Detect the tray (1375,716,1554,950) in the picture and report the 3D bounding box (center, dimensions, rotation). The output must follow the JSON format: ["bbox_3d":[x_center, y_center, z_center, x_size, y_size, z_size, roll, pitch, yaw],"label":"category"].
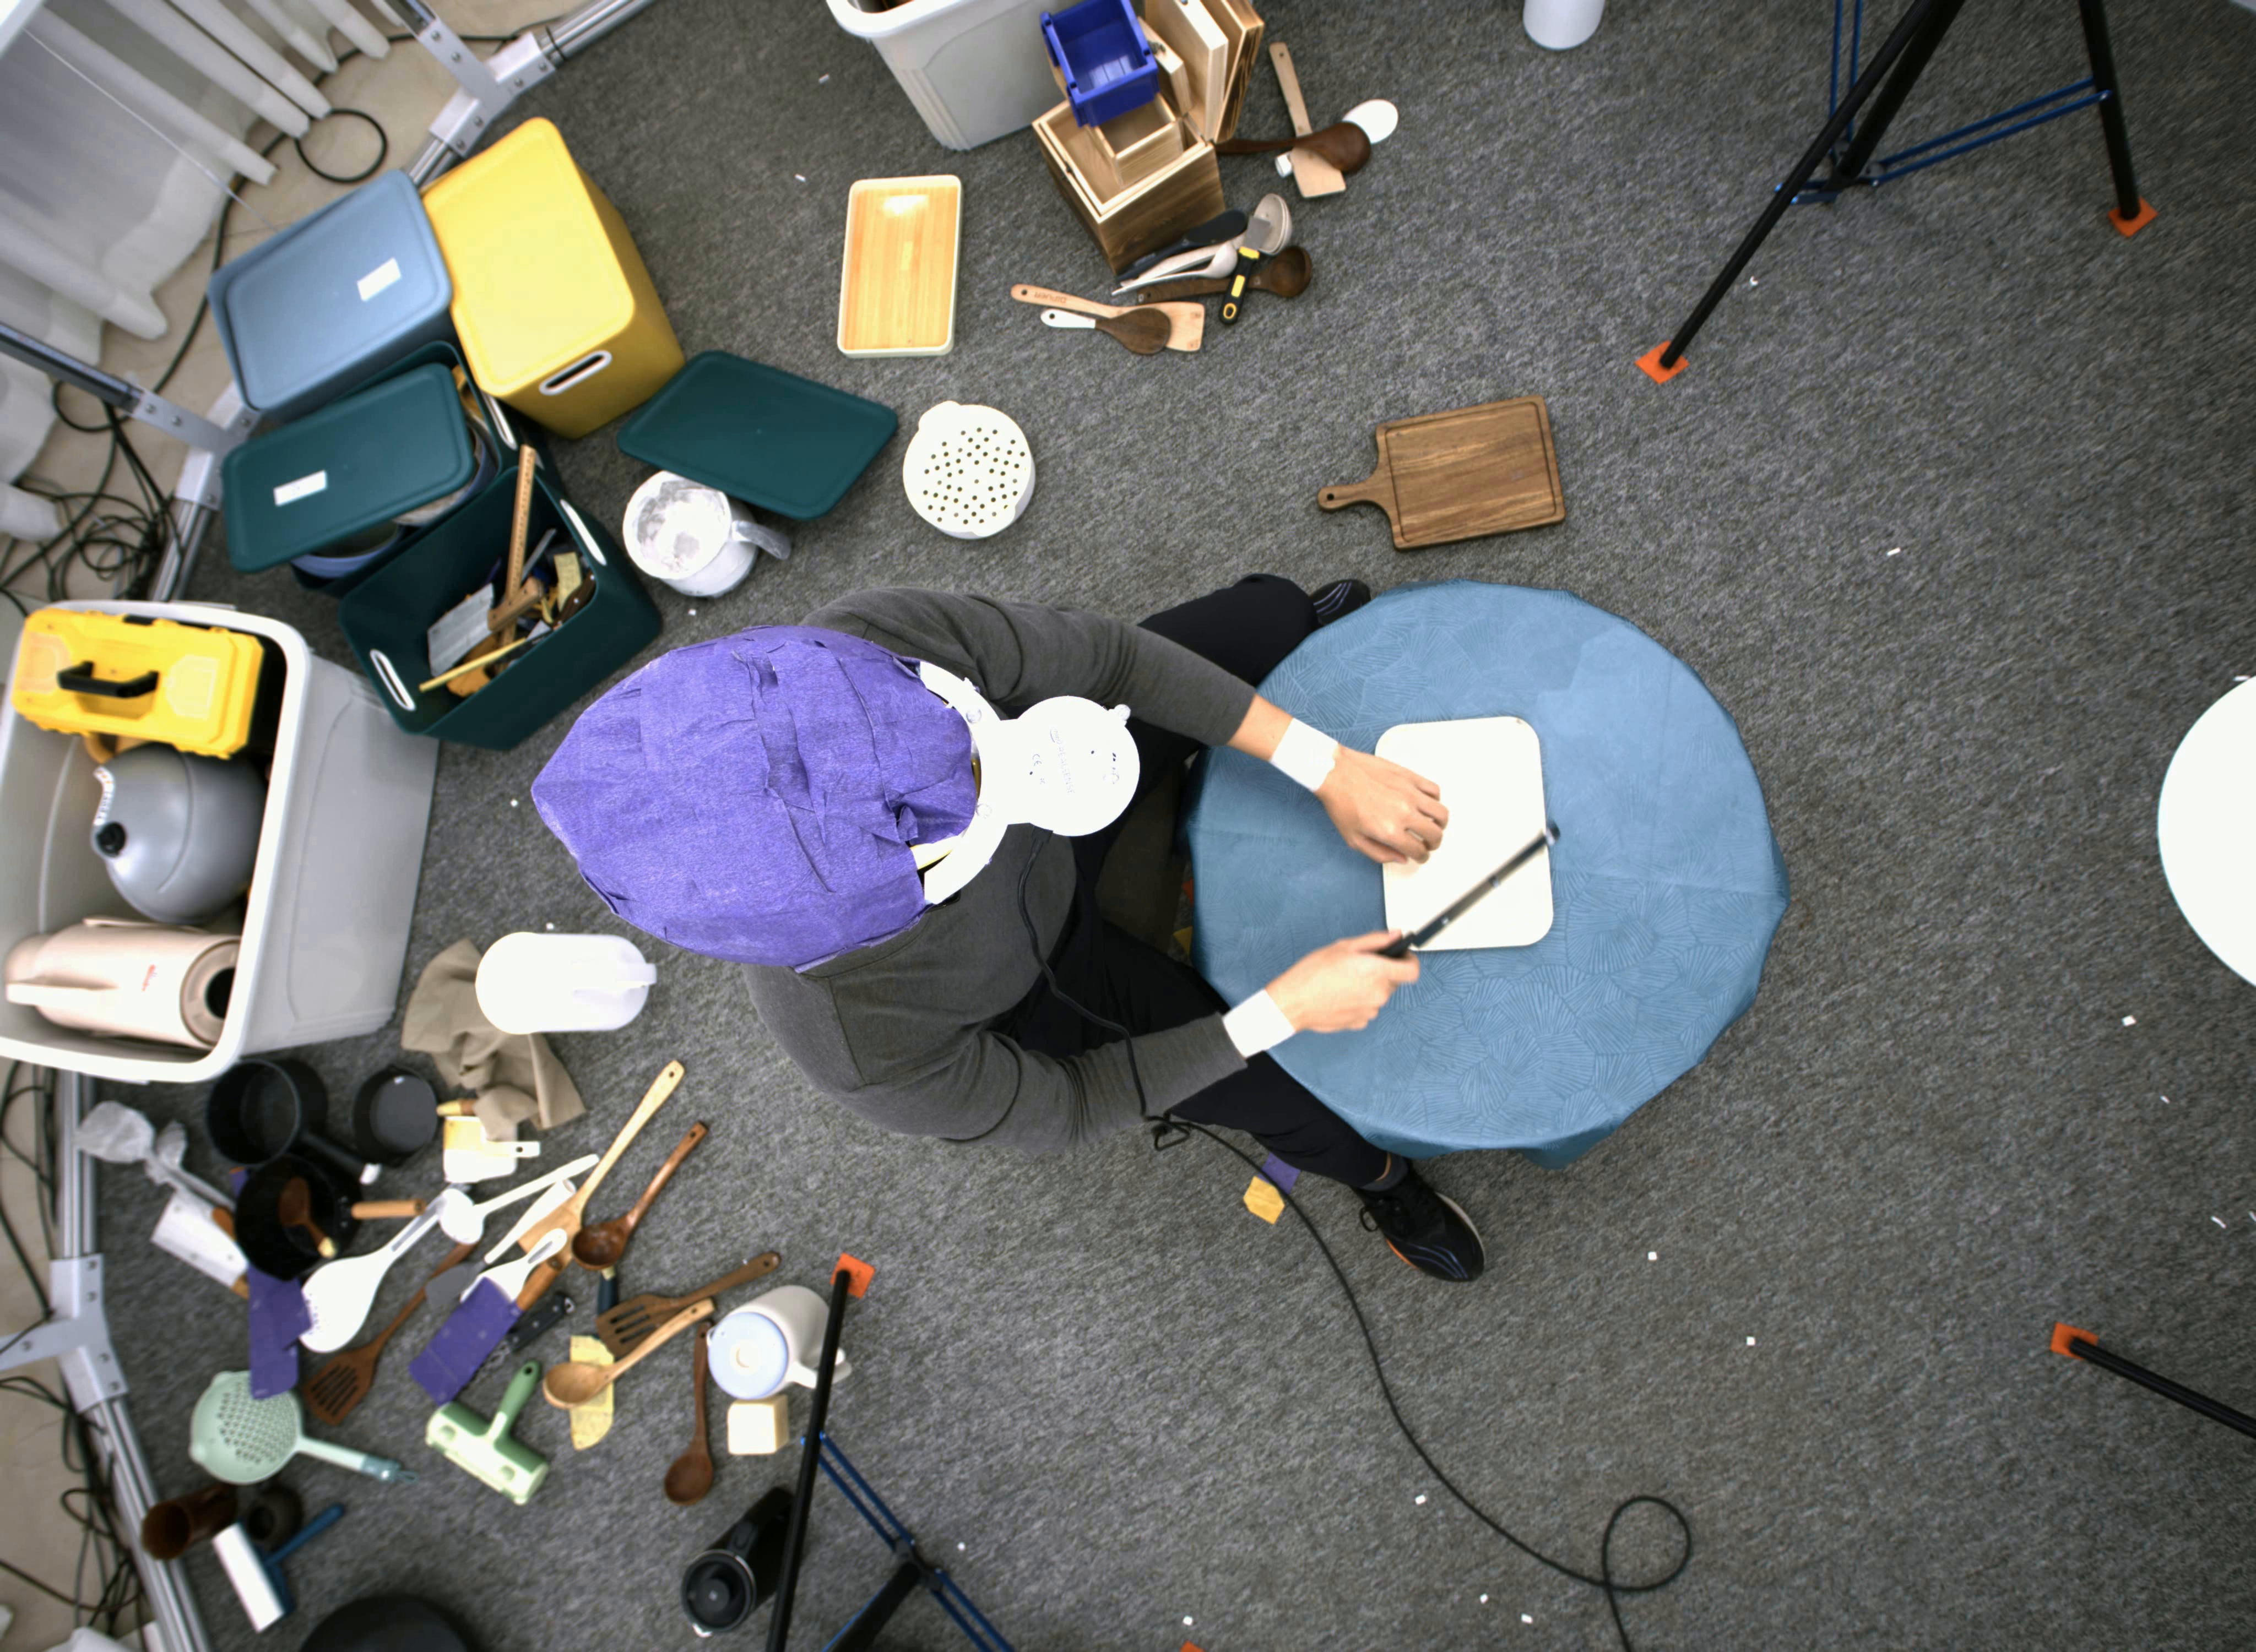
[{"bbox_3d":[0.351,0.006,1.440,0.172,0.017,0.238,-4,86,11],"label":"tray"}]

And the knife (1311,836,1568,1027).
[{"bbox_3d":[0.304,0.103,1.348,0.304,0.081,0.020,-36,65,9],"label":"knife"}]
